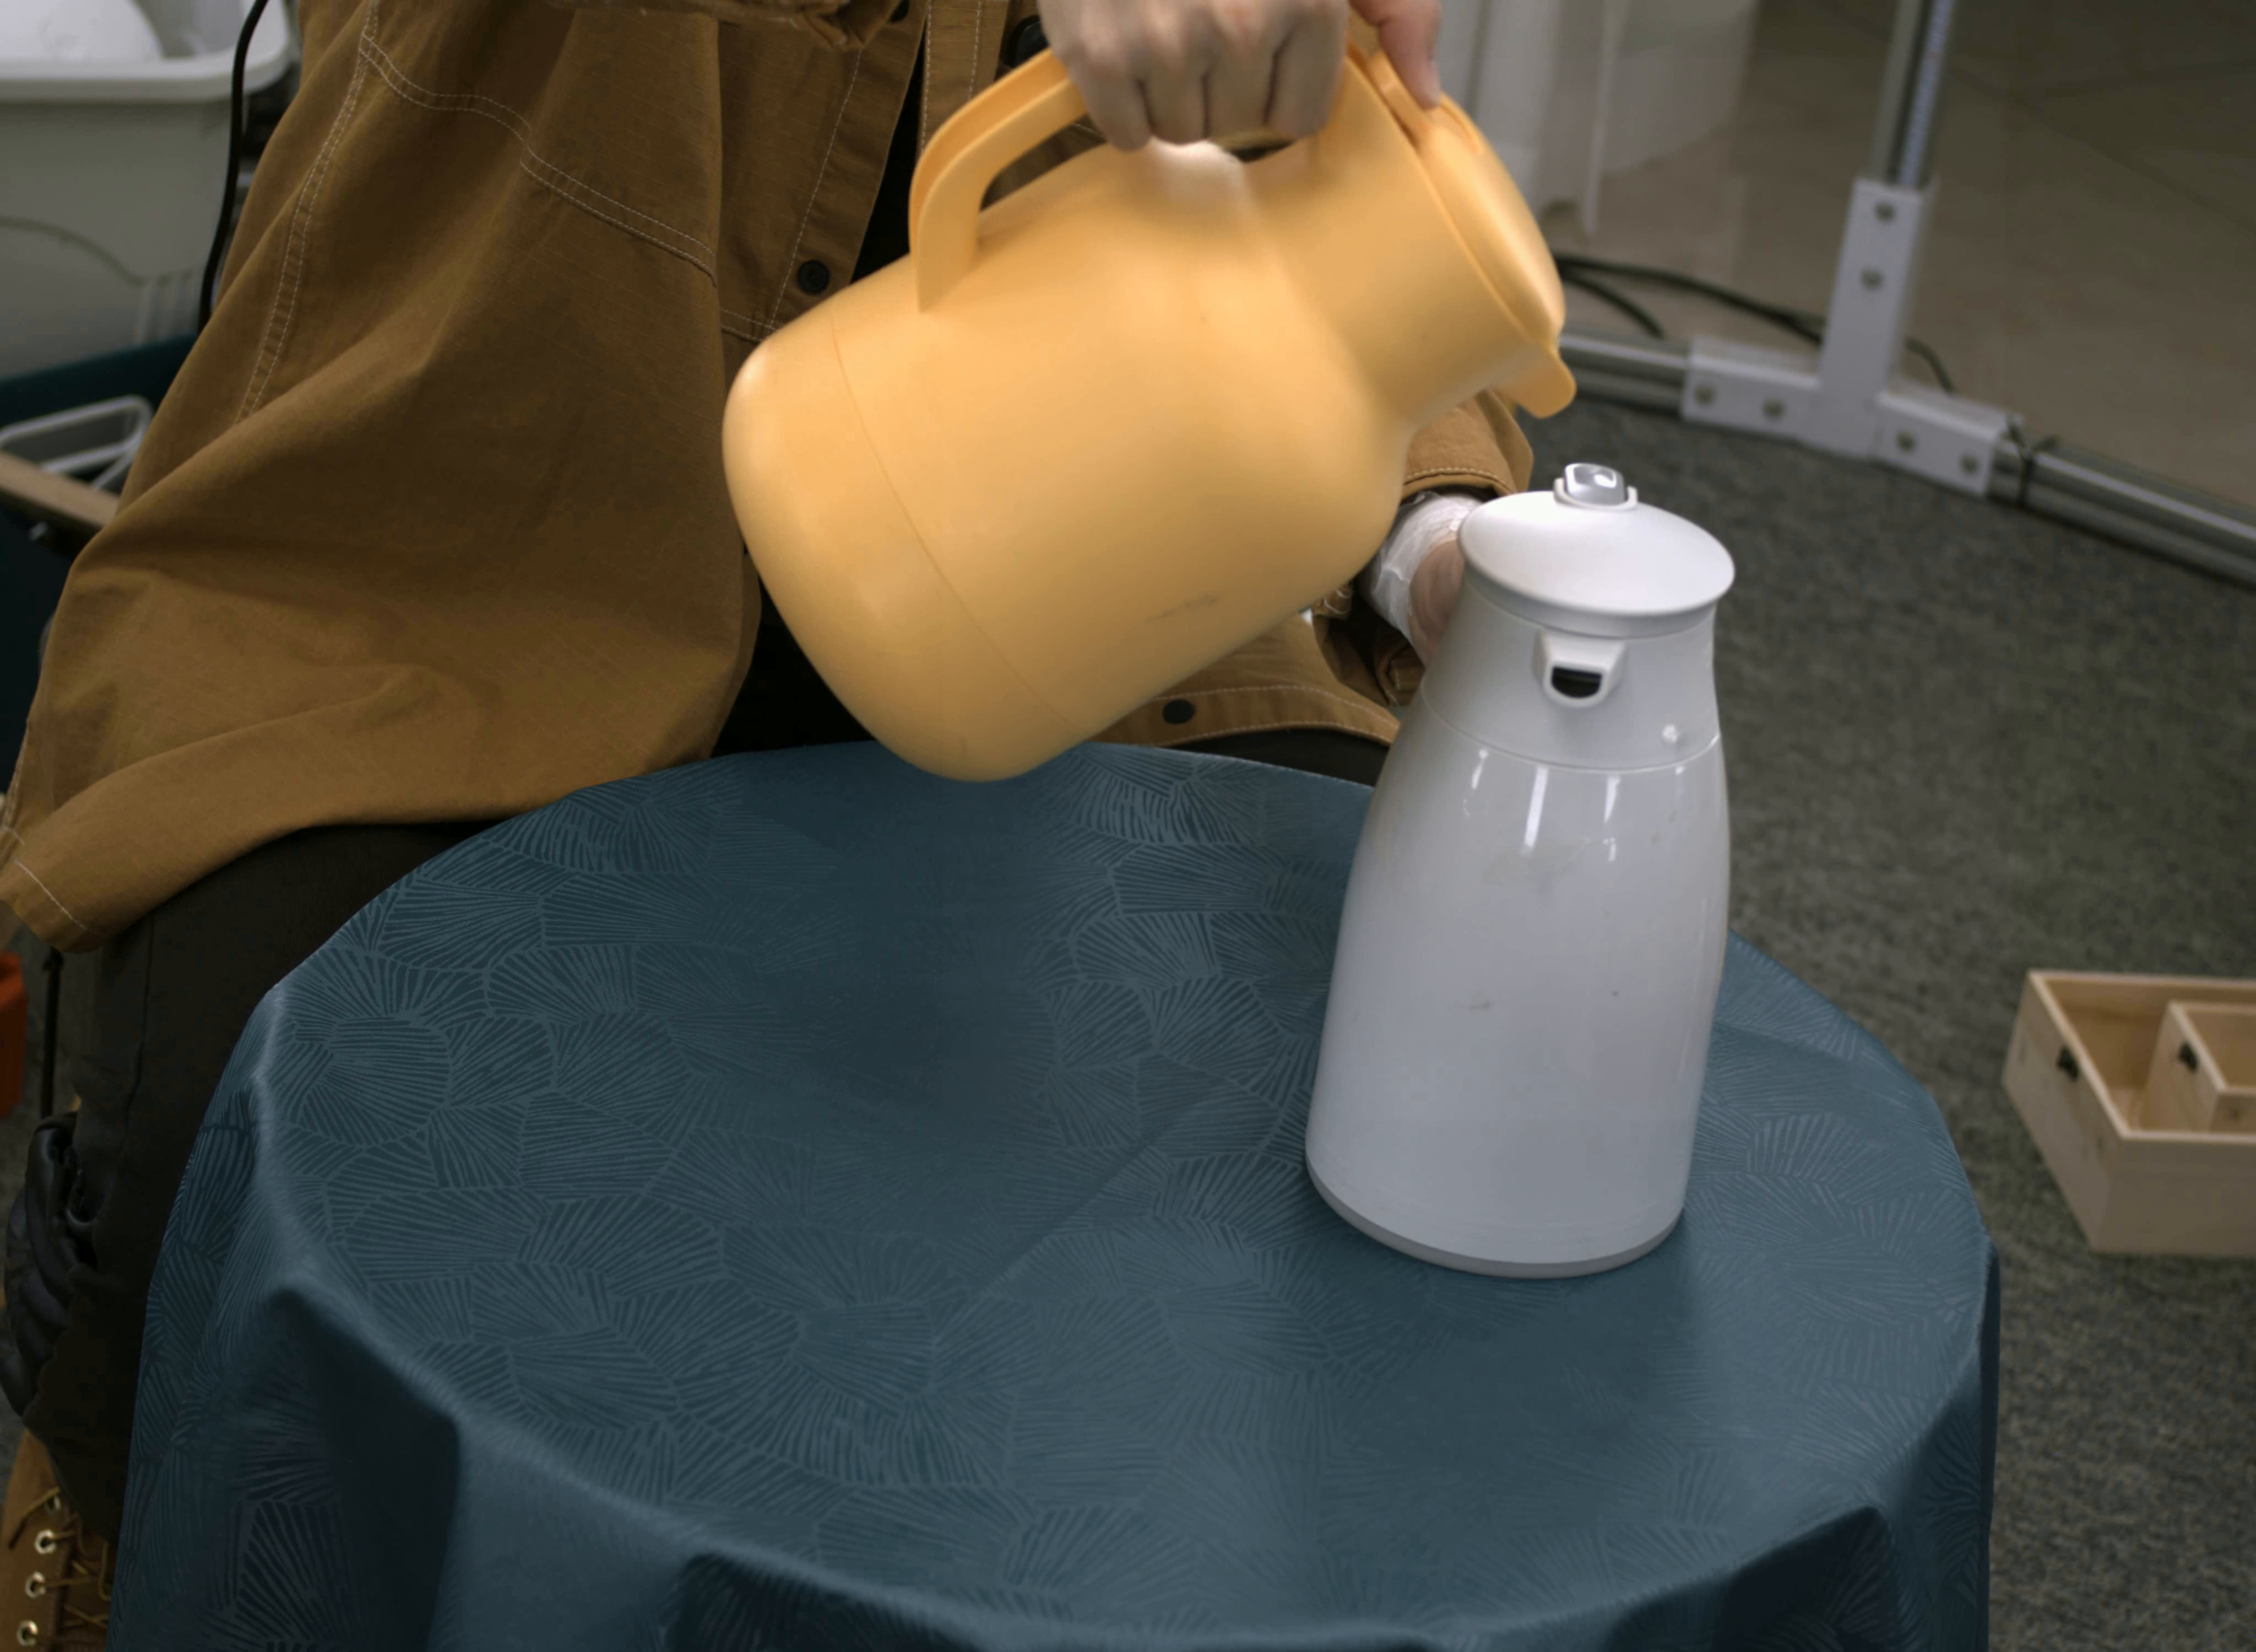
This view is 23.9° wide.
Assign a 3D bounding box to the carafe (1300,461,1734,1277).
[{"bbox_3d":[0.139,0.003,1.800,0.132,0.248,0.168,9,26,3],"label":"carafe"}]

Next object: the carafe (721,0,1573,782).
[{"bbox_3d":[-0.001,-0.149,1.677,0.260,0.201,0.165,-30,32,11],"label":"carafe"}]
